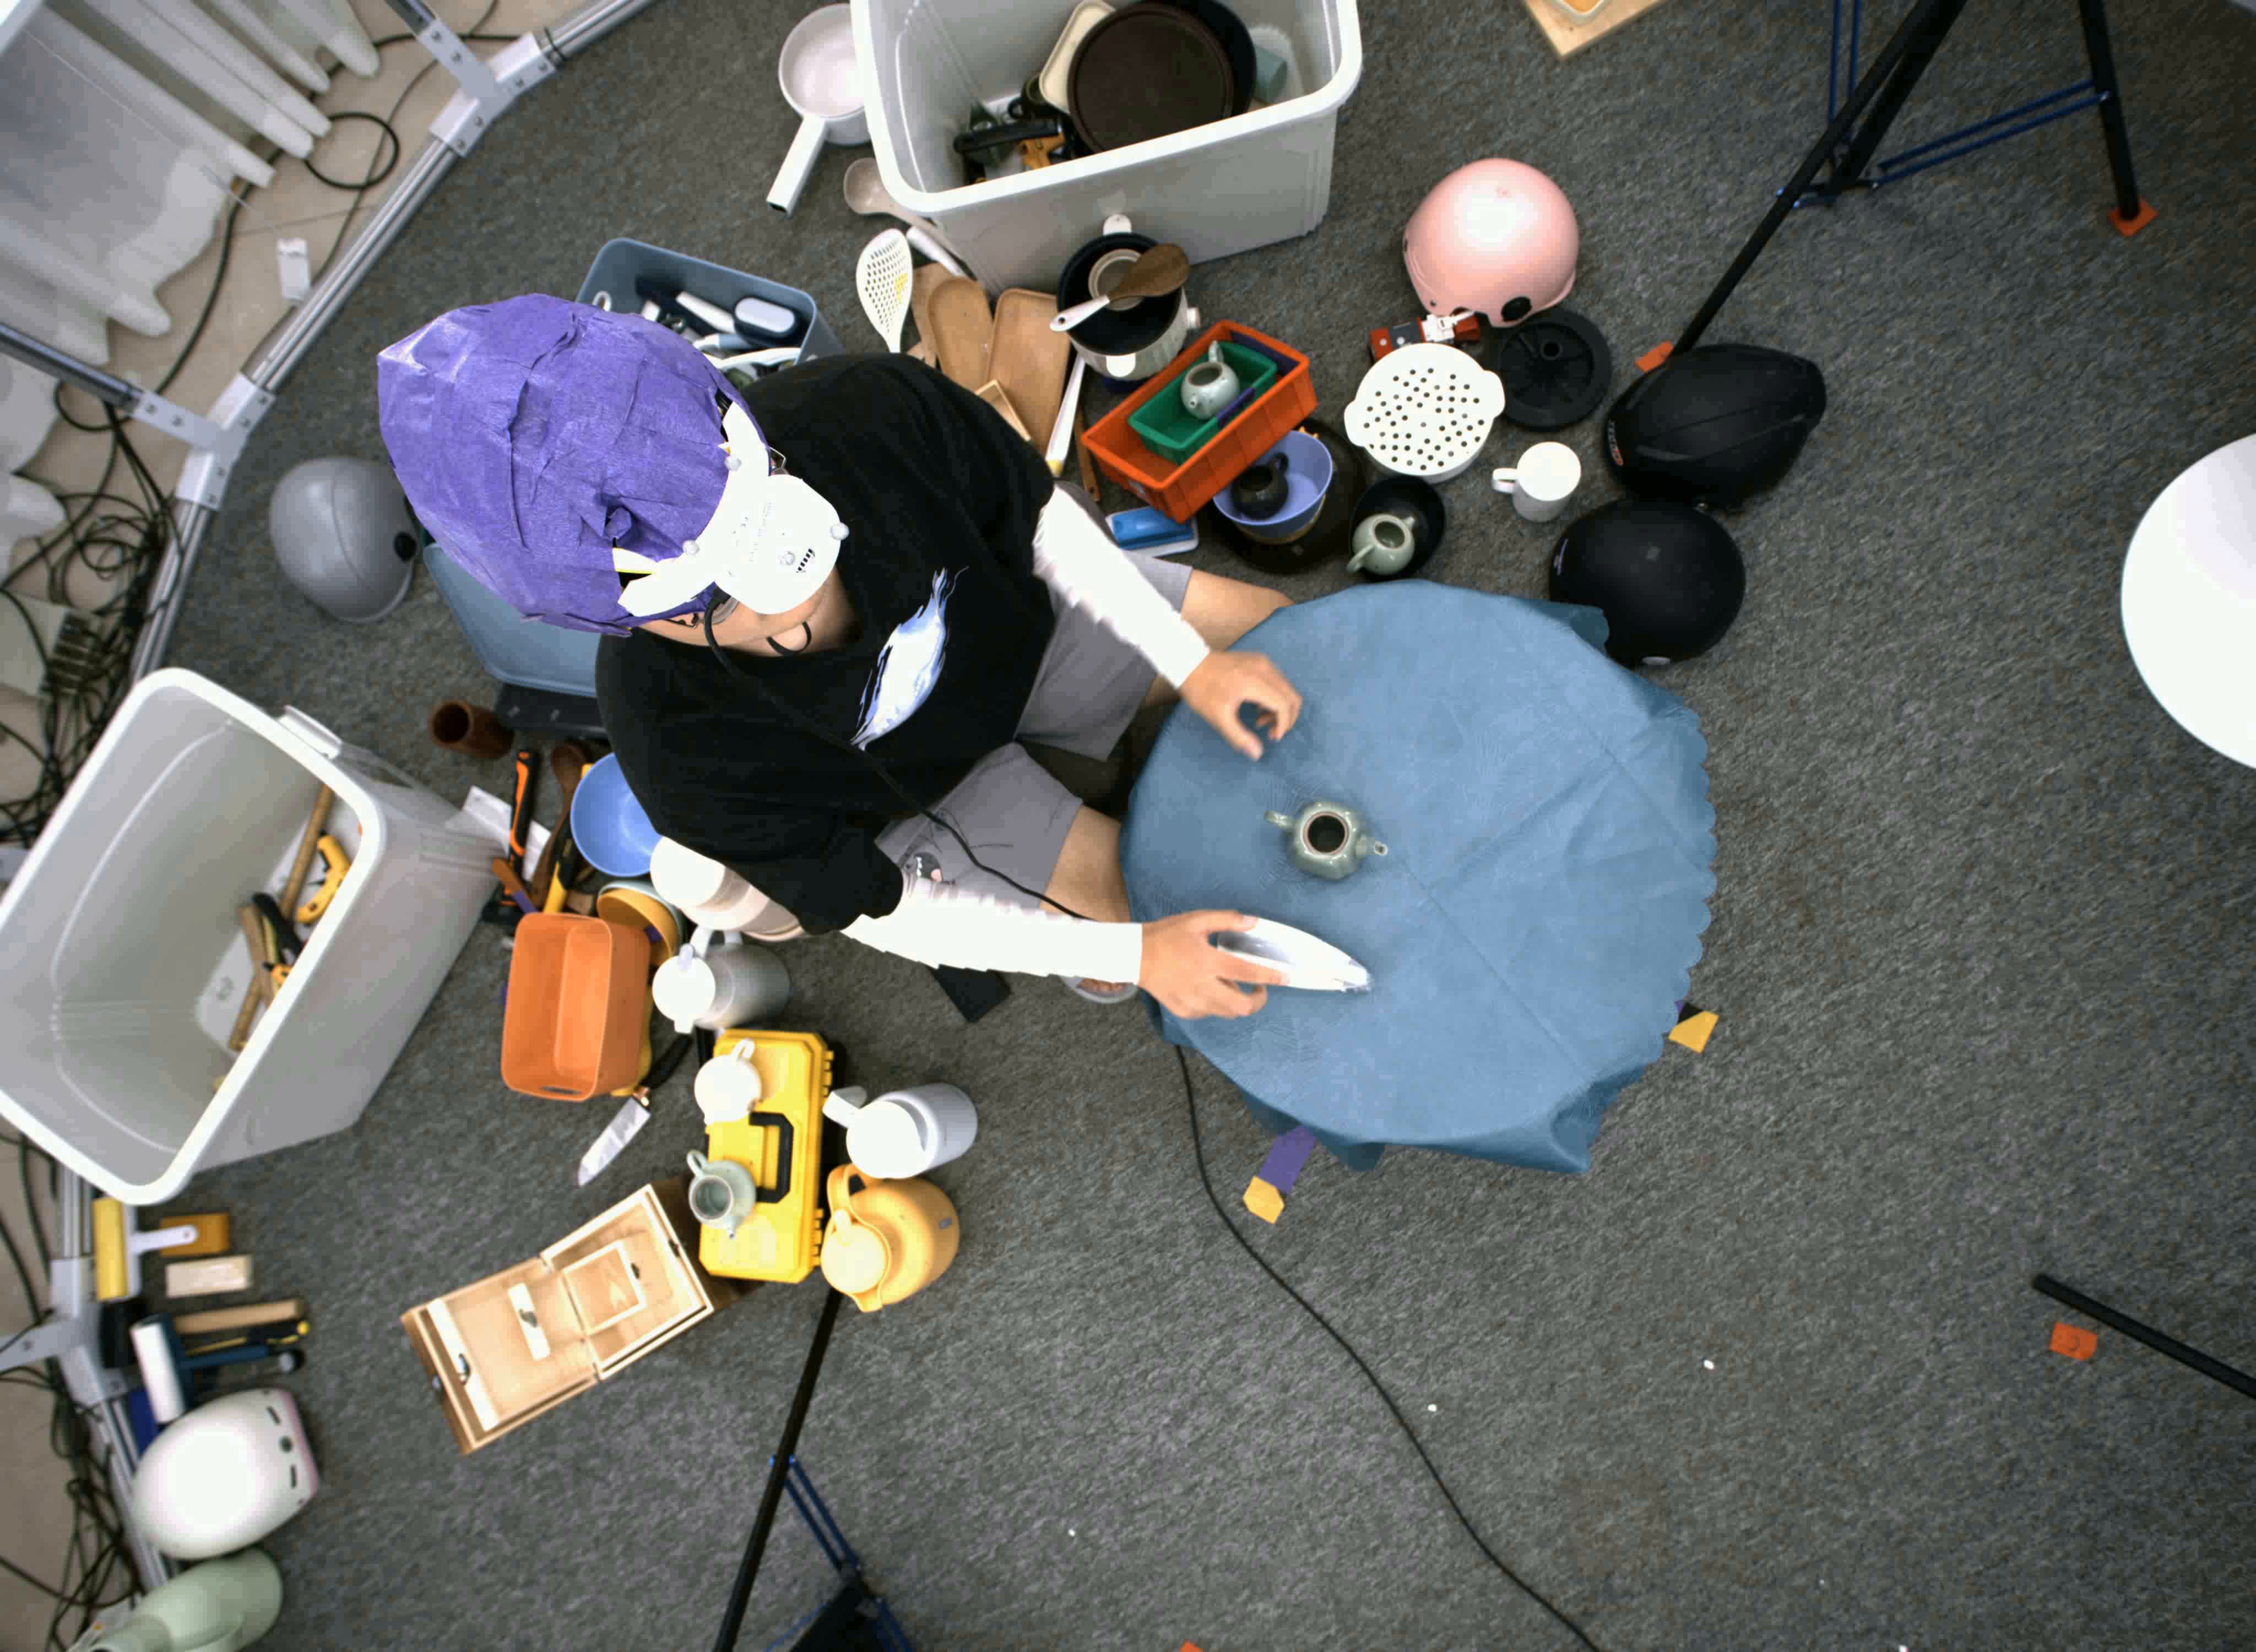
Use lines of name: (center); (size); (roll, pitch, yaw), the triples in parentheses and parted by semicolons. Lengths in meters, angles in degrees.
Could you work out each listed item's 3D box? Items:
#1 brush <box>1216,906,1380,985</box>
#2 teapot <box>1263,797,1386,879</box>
brush: (0.174, 0.132, 1.427); (0.175, 0.094, 0.061); (17, 93, 9)
teapot: (0.205, 0.009, 1.437); (0.132, 0.075, 0.079); (19, 88, 12)
